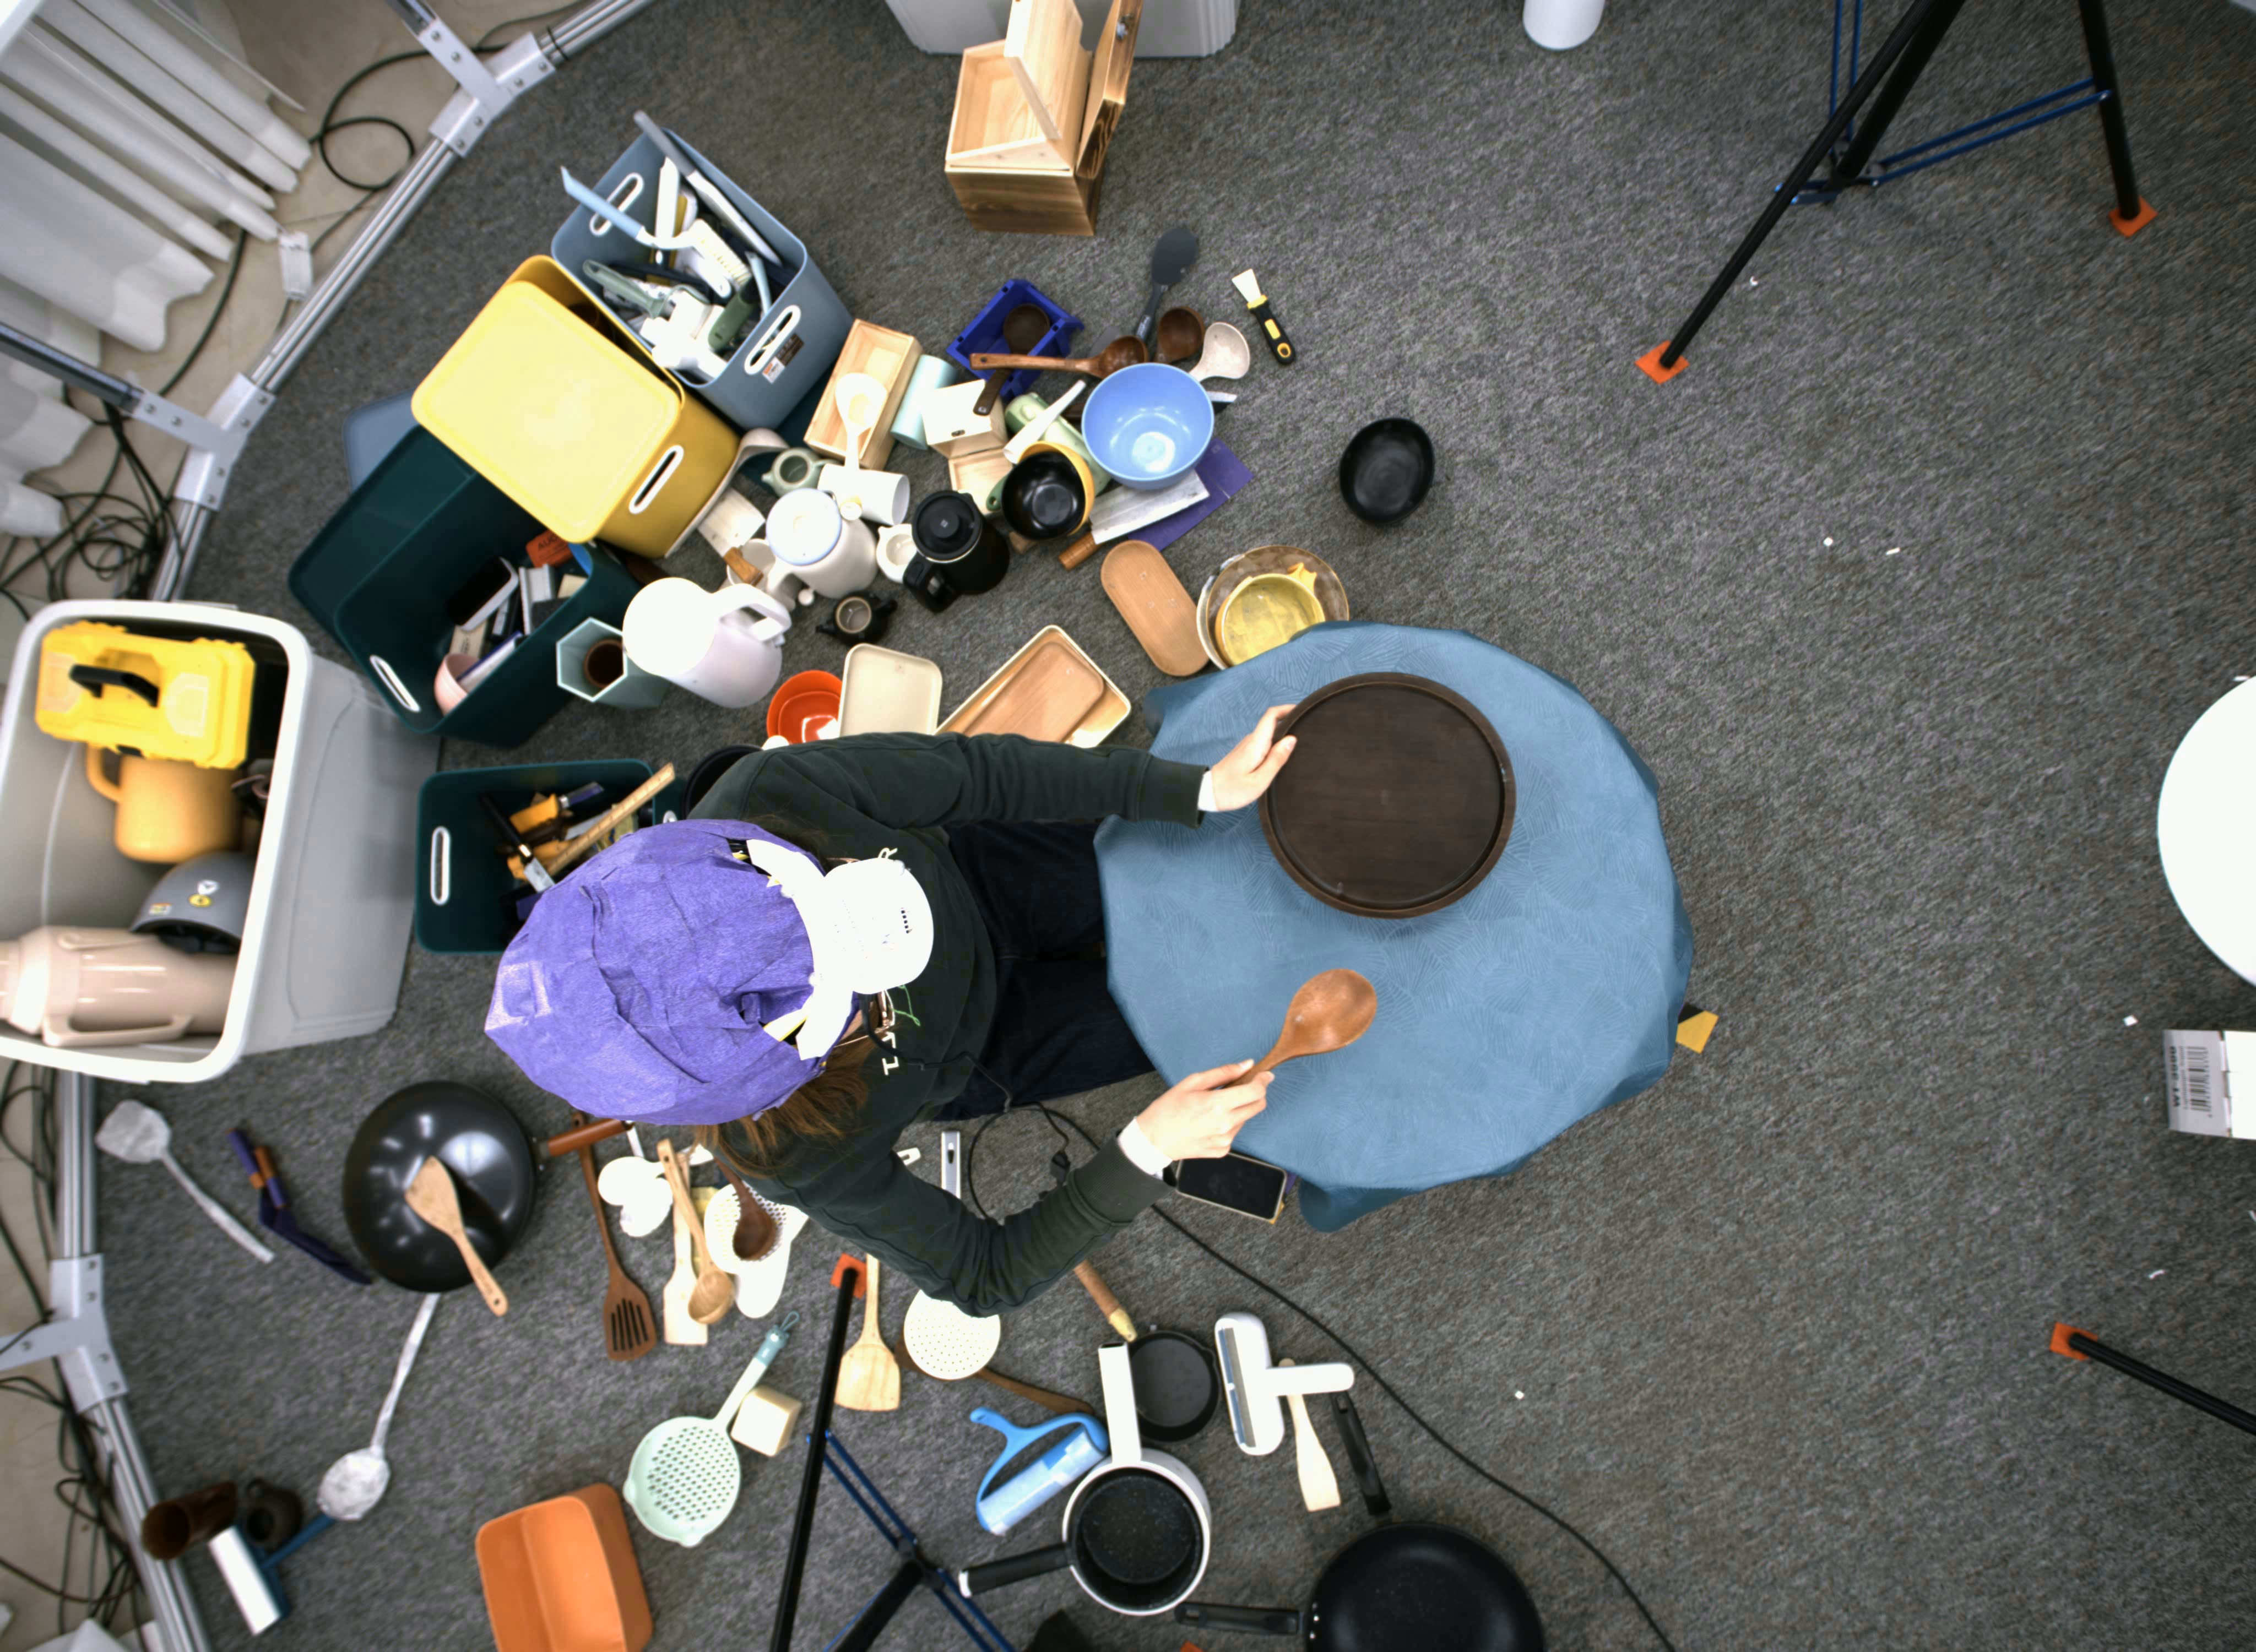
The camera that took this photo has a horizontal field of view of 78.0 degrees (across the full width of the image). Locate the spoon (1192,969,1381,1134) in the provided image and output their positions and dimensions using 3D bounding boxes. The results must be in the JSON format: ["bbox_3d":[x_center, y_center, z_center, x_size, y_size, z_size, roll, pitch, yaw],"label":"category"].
[{"bbox_3d":[0.147,0.214,1.303,0.215,0.017,0.074,-38,65,-6],"label":"spoon"}]

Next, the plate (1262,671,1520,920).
[{"bbox_3d":[0.258,-0.030,1.365,0.256,0.028,0.258,4,108,13],"label":"plate"}]
